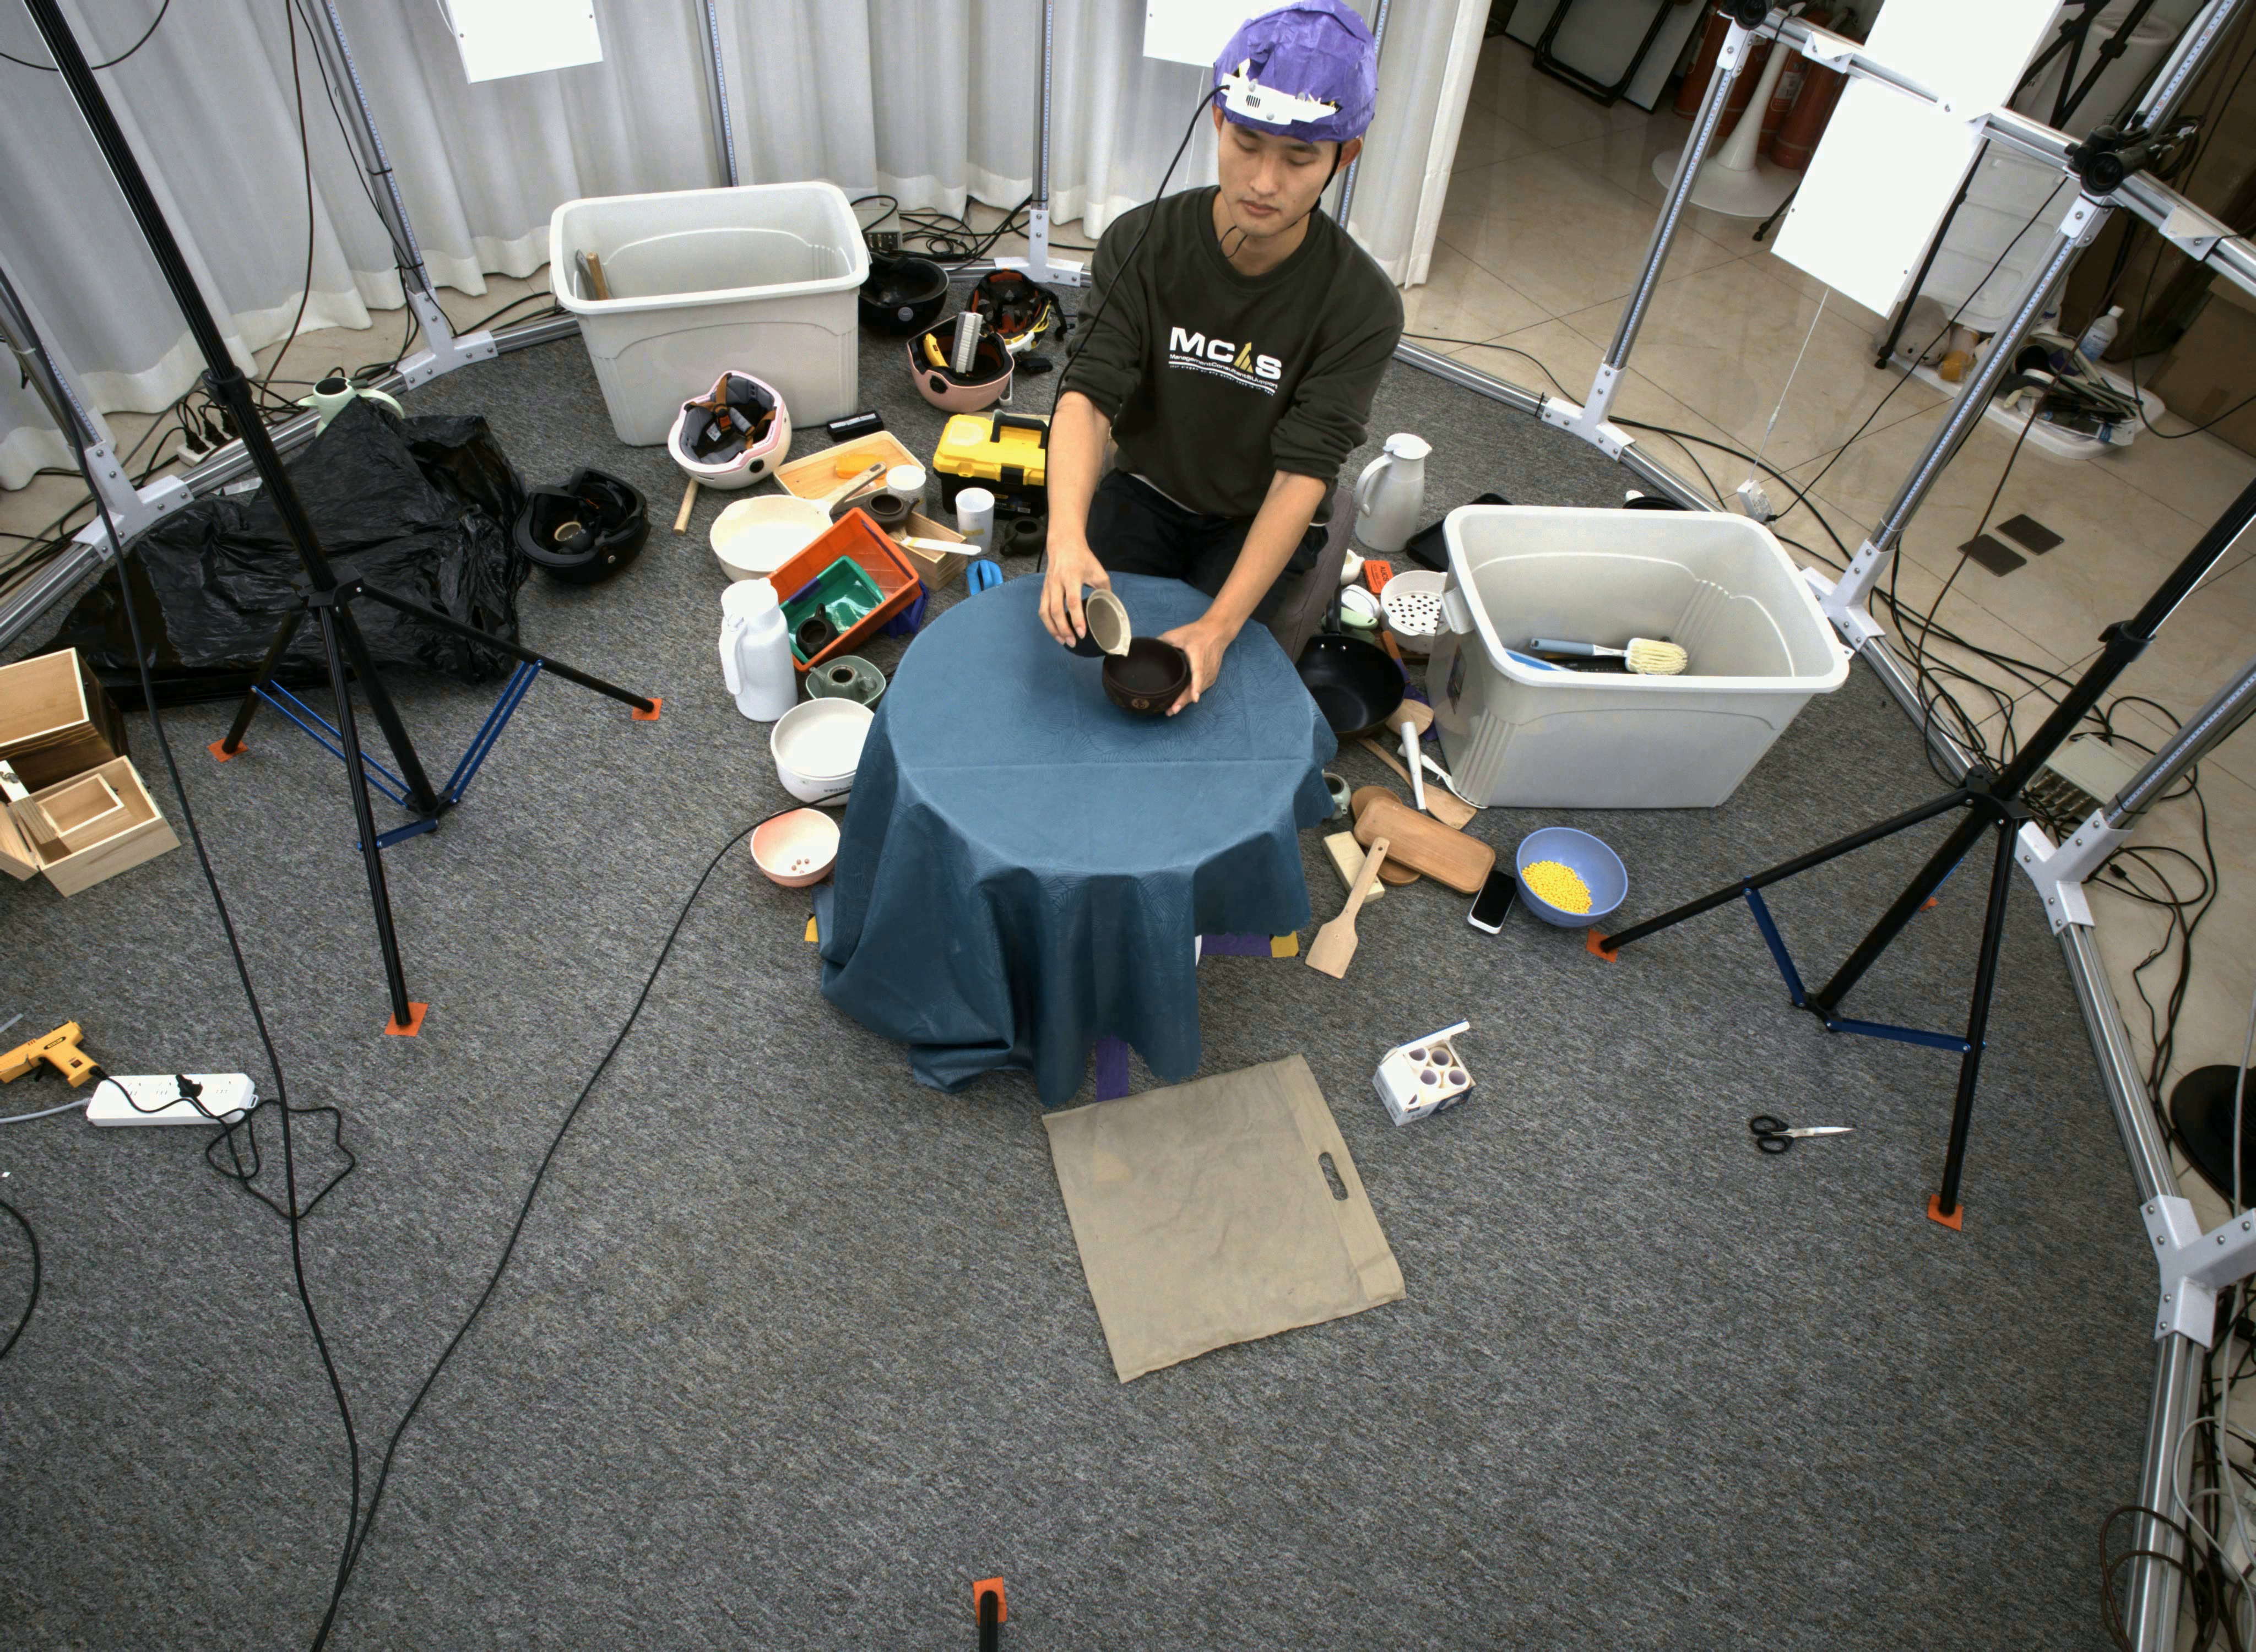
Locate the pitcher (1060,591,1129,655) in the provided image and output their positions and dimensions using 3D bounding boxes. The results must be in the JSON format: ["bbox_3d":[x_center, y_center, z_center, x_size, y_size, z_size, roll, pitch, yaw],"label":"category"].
[{"bbox_3d":[-0.049,-0.272,1.773,0.071,0.095,0.085,-16,21,36],"label":"pitcher"}]

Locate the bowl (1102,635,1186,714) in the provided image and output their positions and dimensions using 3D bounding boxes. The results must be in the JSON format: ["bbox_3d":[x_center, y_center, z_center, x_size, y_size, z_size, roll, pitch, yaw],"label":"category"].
[{"bbox_3d":[0.022,-0.204,1.798,0.118,0.068,0.121,0,51,-1],"label":"bowl"}]
